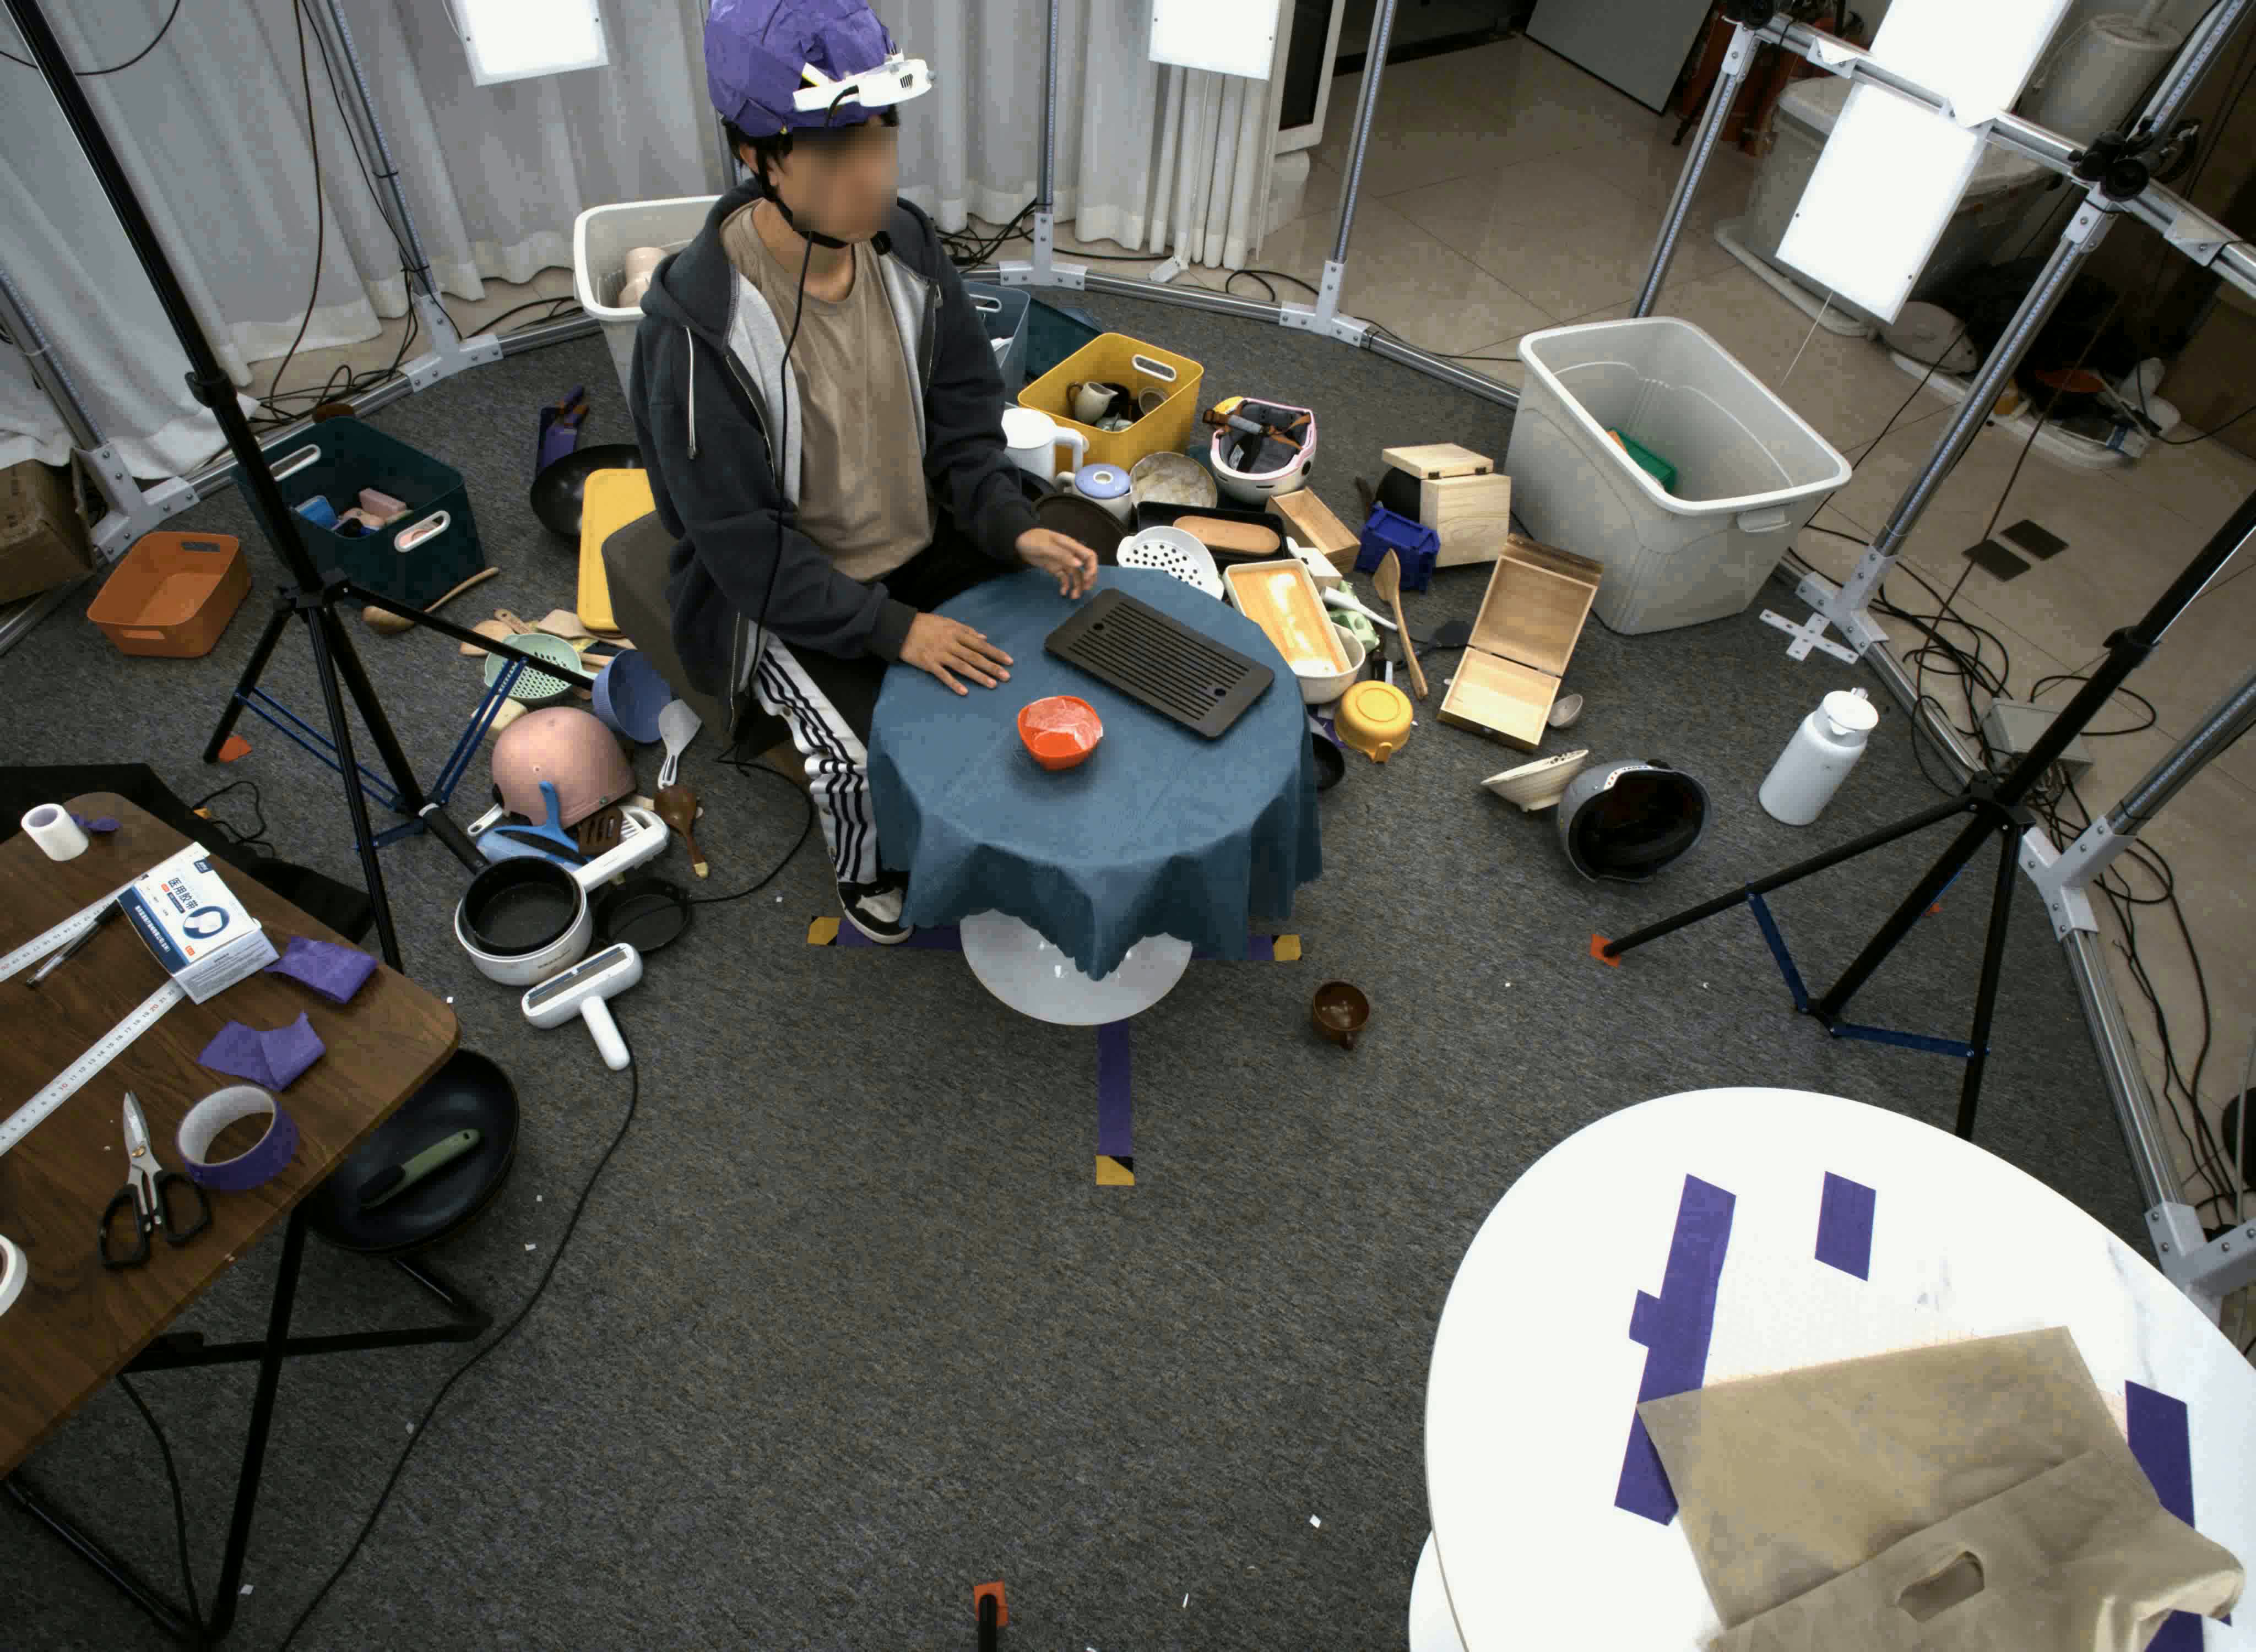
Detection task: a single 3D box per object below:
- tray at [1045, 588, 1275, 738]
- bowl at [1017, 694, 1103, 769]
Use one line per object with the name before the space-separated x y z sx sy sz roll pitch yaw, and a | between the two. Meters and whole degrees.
tray | 0.045 -0.240 1.866 0.309 0.018 0.172 30 54 21
bowl | -0.092 -0.120 1.729 0.119 0.050 0.122 2 50 -2
